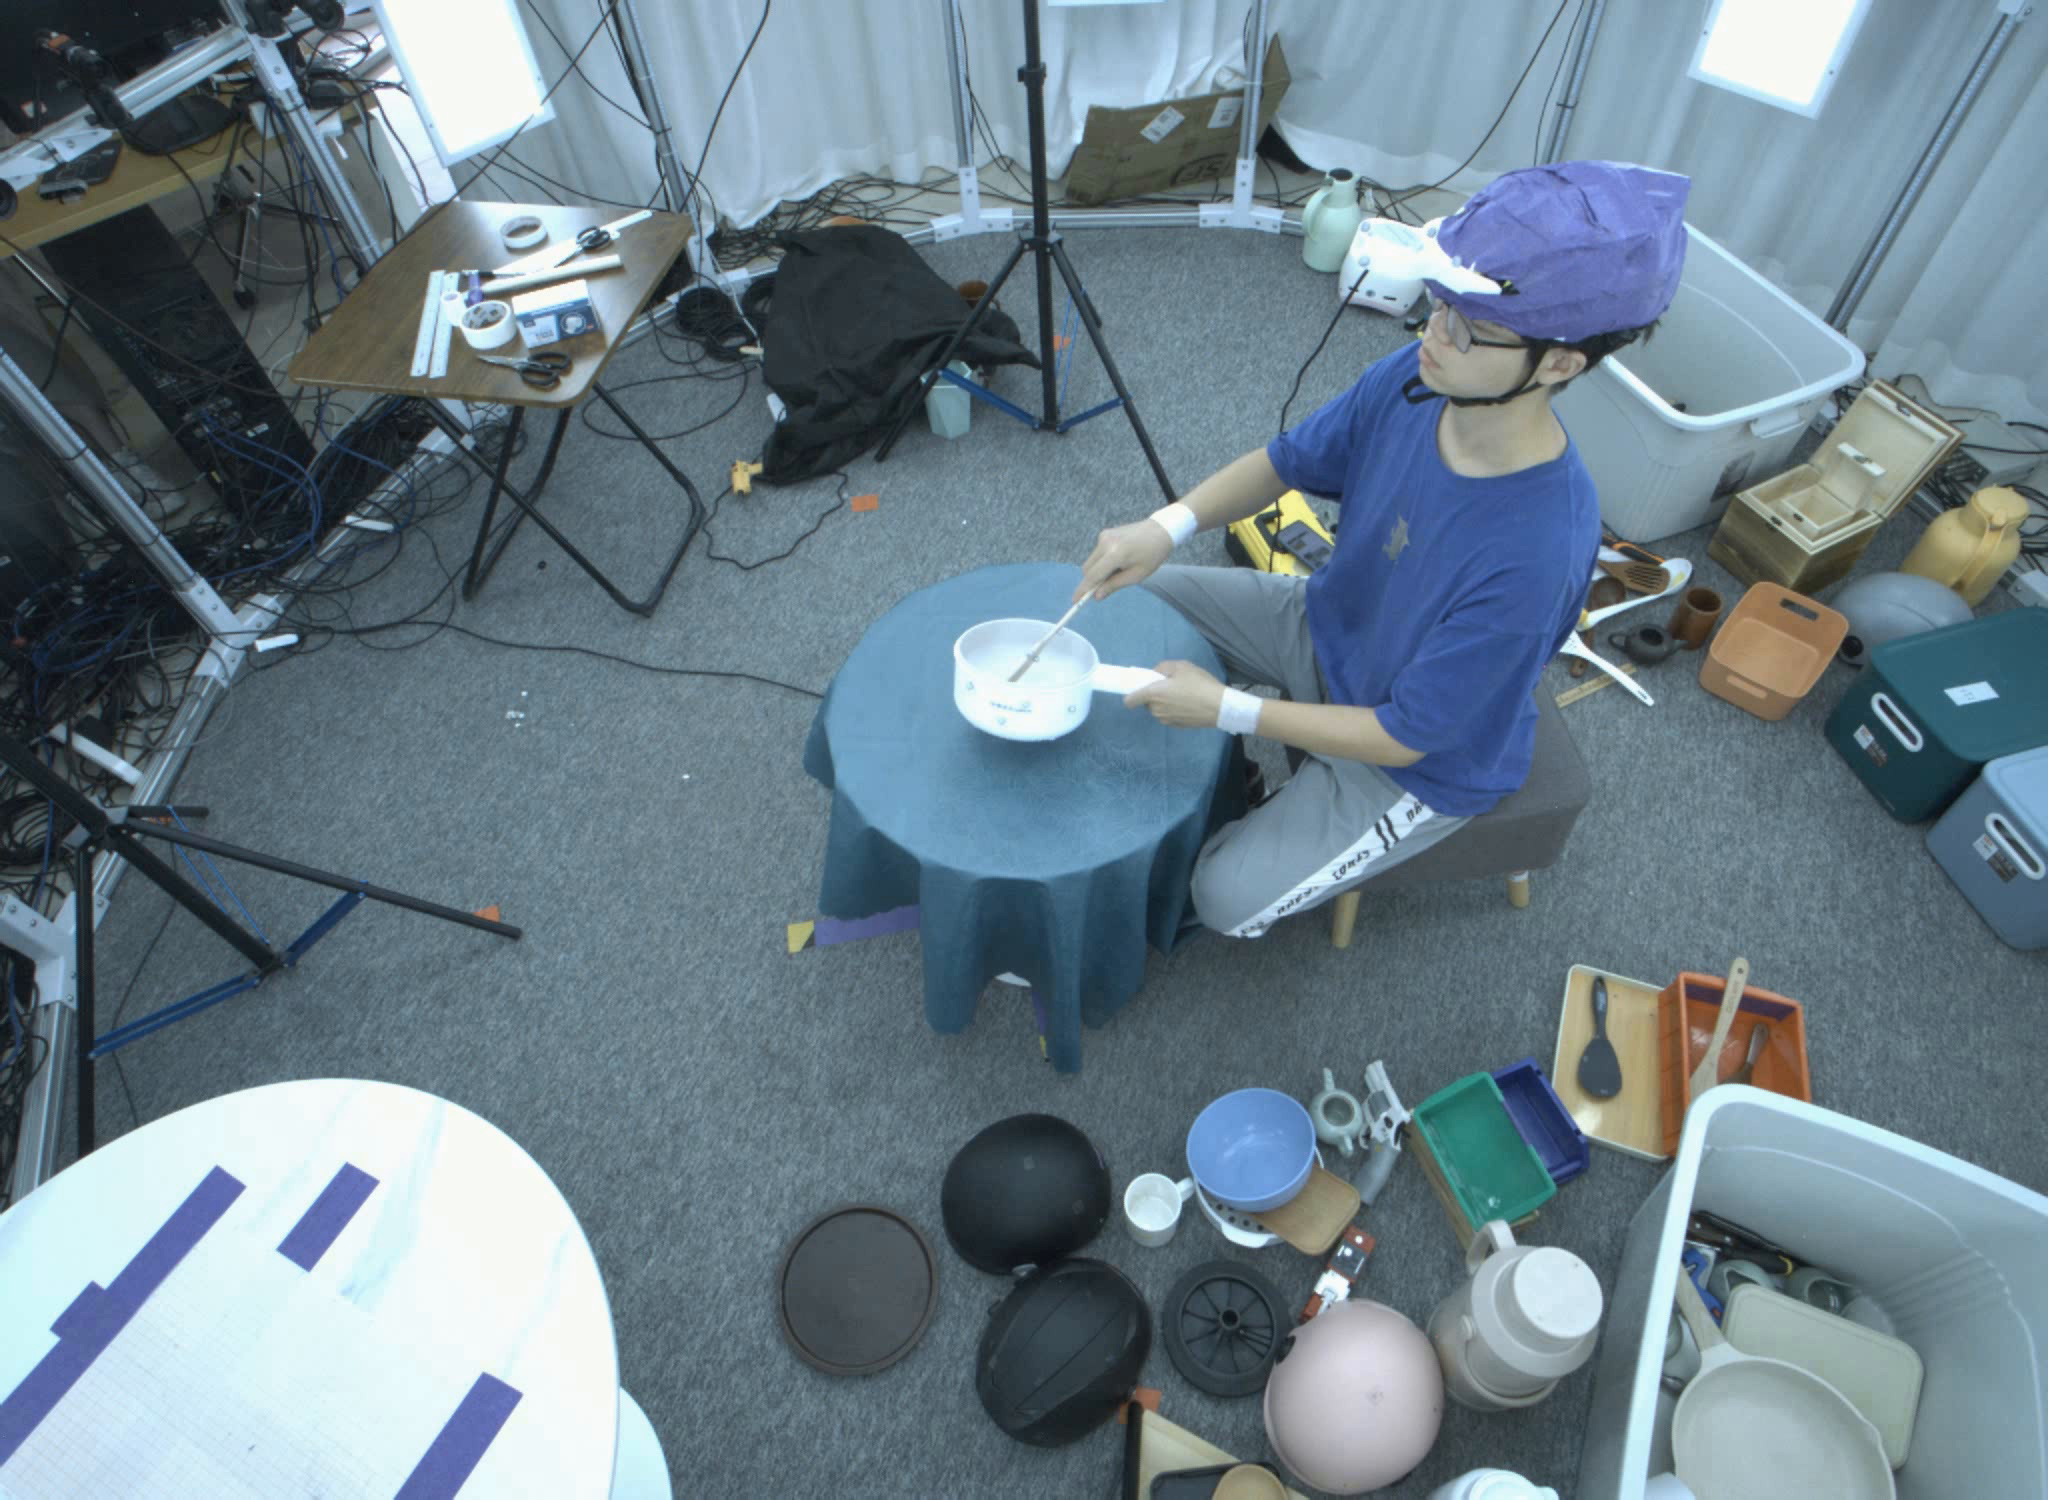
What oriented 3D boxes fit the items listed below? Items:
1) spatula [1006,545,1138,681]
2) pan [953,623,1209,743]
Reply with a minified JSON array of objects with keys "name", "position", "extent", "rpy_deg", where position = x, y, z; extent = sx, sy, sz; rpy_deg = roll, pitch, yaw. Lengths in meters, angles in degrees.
[{"name":"spatula","position":[0.064,-0.182,1.692],"extent":[0.010,0.072,0.294],"rpy_deg":[40,74,8]},{"name":"pan","position":[0.075,-0.078,1.711],"extent":[0.354,0.103,0.200],"rpy_deg":[9,31,3]}]
